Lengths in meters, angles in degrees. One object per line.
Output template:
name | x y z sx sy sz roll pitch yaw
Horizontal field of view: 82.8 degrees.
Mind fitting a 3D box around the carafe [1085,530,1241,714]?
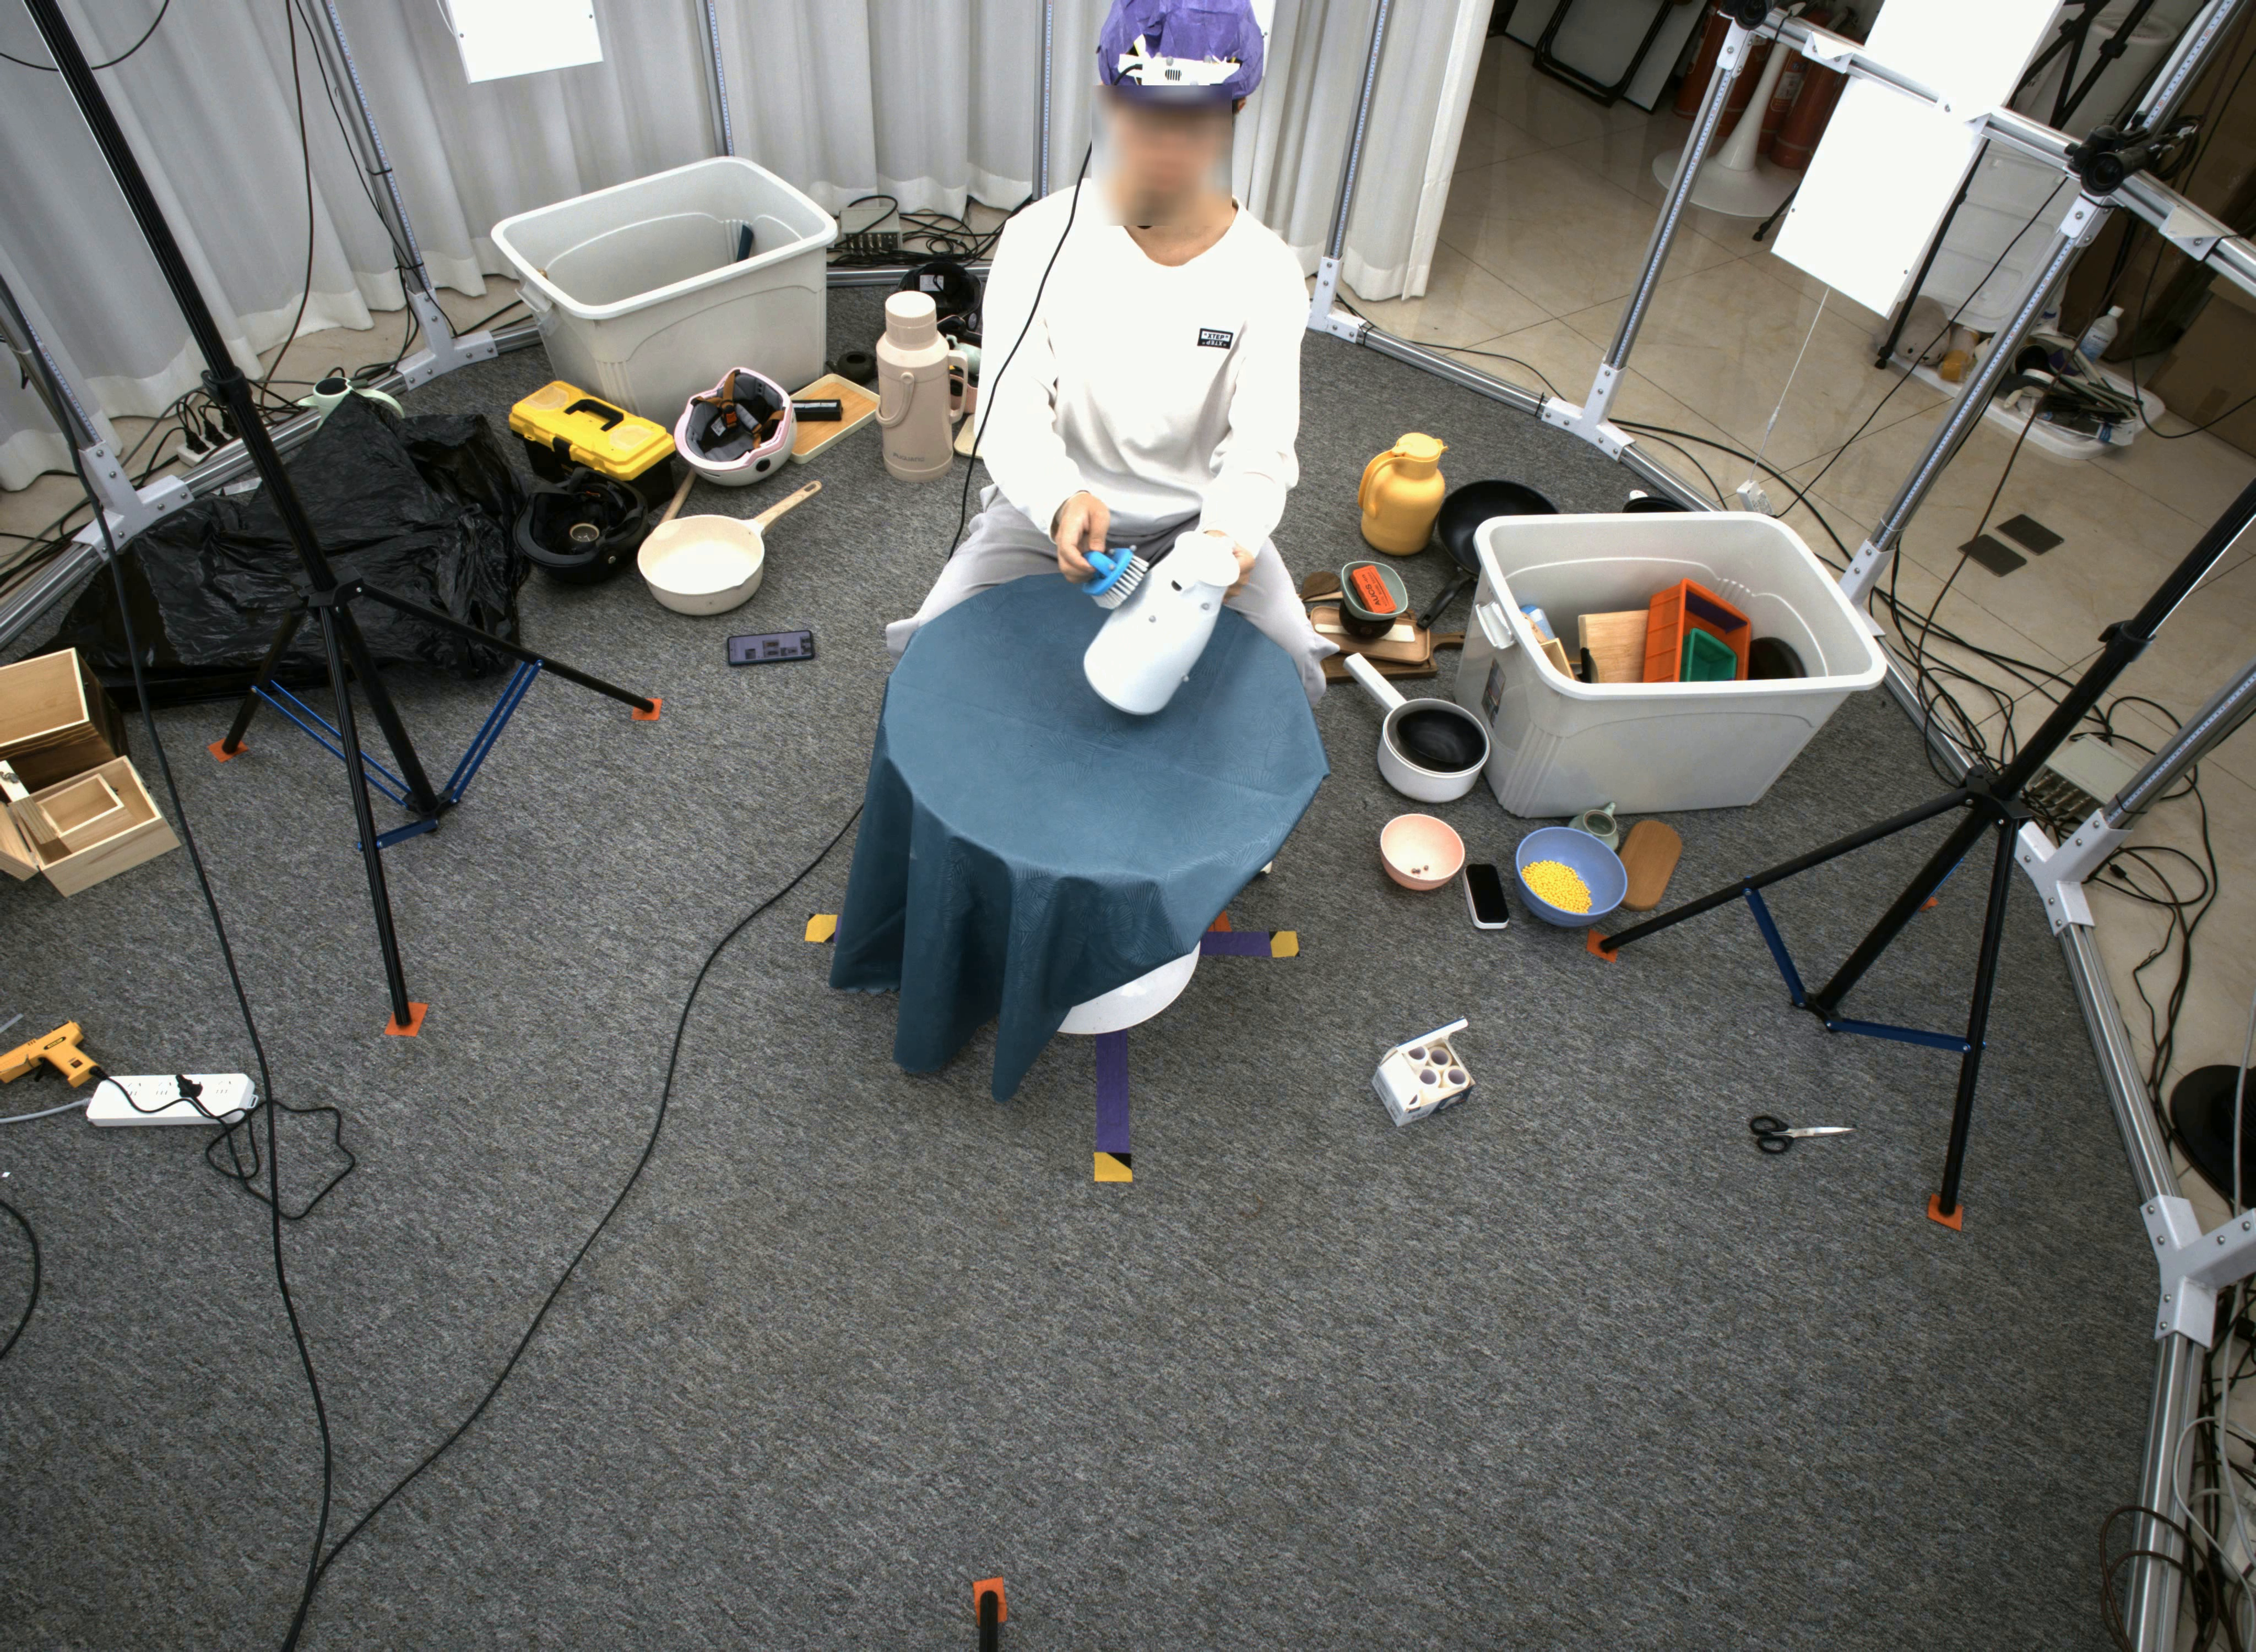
carafe | 0.062 -0.284 1.707 0.133 0.244 0.170 42 45 4

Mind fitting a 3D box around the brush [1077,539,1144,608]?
brush | -0.032 -0.339 1.674 0.063 0.084 0.143 34 6 -17
